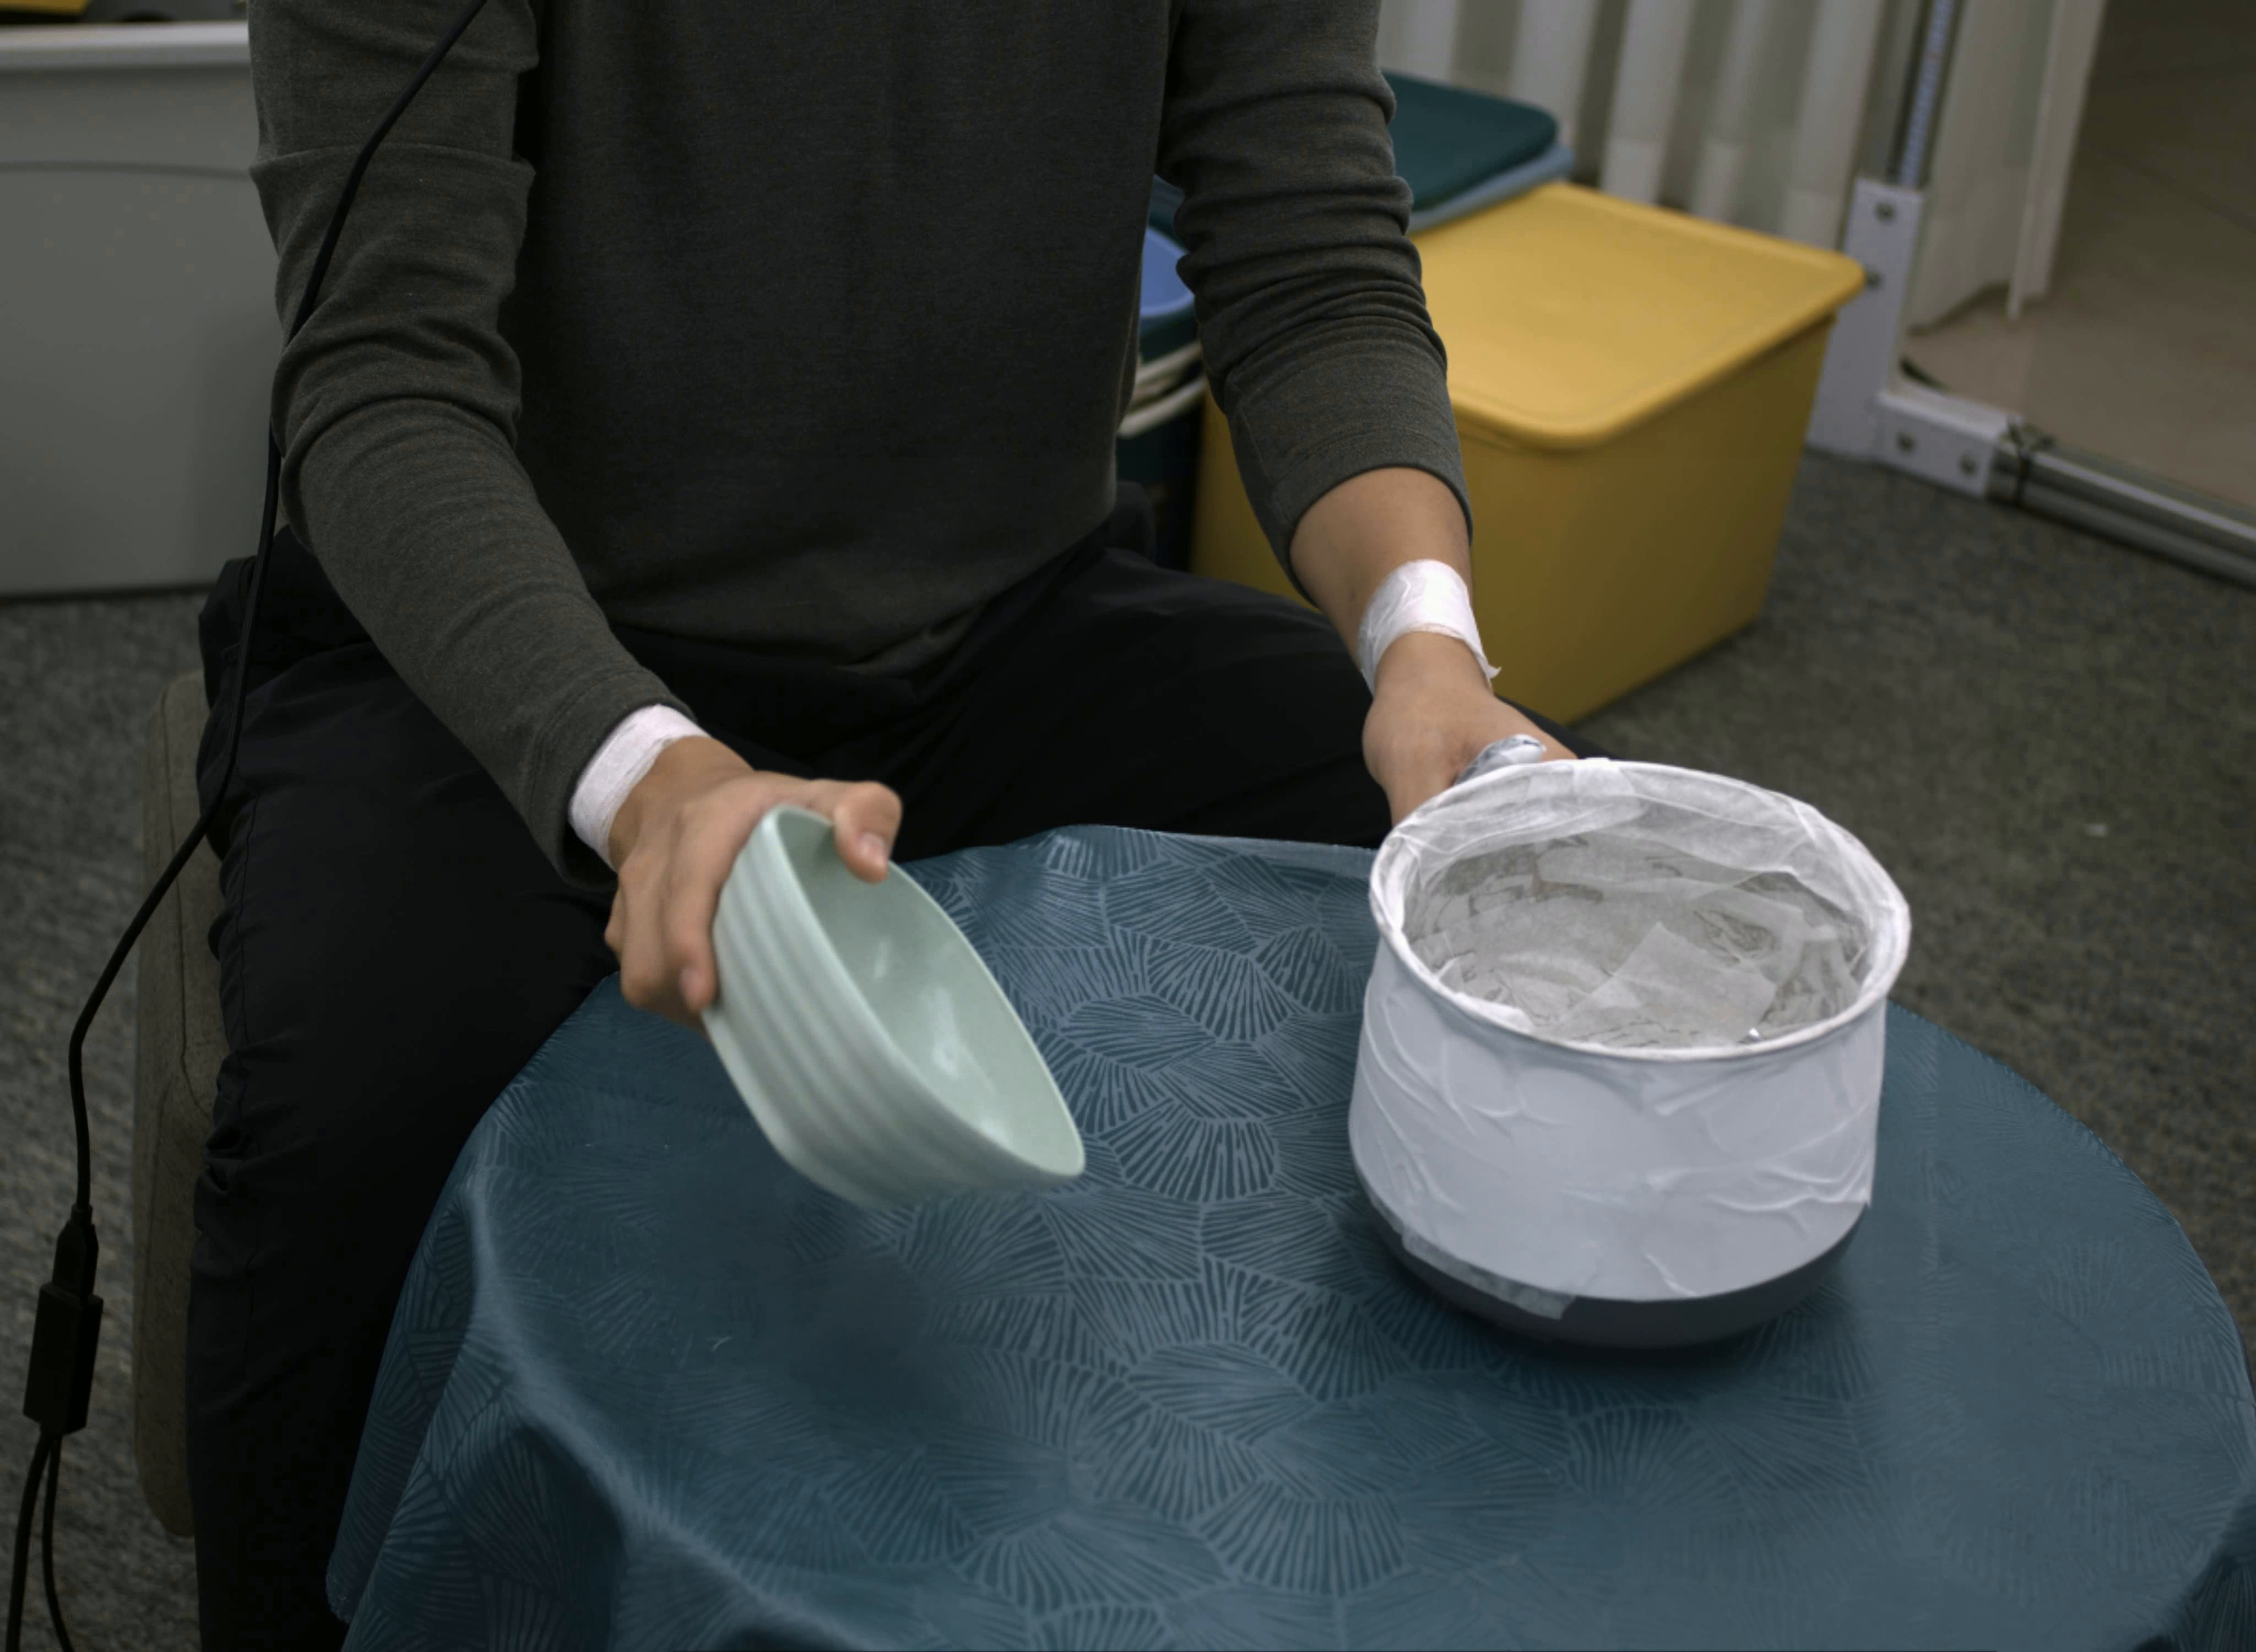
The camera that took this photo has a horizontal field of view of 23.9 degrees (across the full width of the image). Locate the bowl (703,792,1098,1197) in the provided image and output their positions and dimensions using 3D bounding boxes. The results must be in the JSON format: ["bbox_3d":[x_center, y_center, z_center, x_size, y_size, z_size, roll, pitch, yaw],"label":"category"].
[{"bbox_3d":[-0.080,0.064,1.659,0.150,0.058,0.152,43,23,-24],"label":"bowl"}]

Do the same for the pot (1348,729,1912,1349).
[{"bbox_3d":[0.154,0.063,1.788,0.178,0.136,0.236,-9,34,-19],"label":"pot"}]
